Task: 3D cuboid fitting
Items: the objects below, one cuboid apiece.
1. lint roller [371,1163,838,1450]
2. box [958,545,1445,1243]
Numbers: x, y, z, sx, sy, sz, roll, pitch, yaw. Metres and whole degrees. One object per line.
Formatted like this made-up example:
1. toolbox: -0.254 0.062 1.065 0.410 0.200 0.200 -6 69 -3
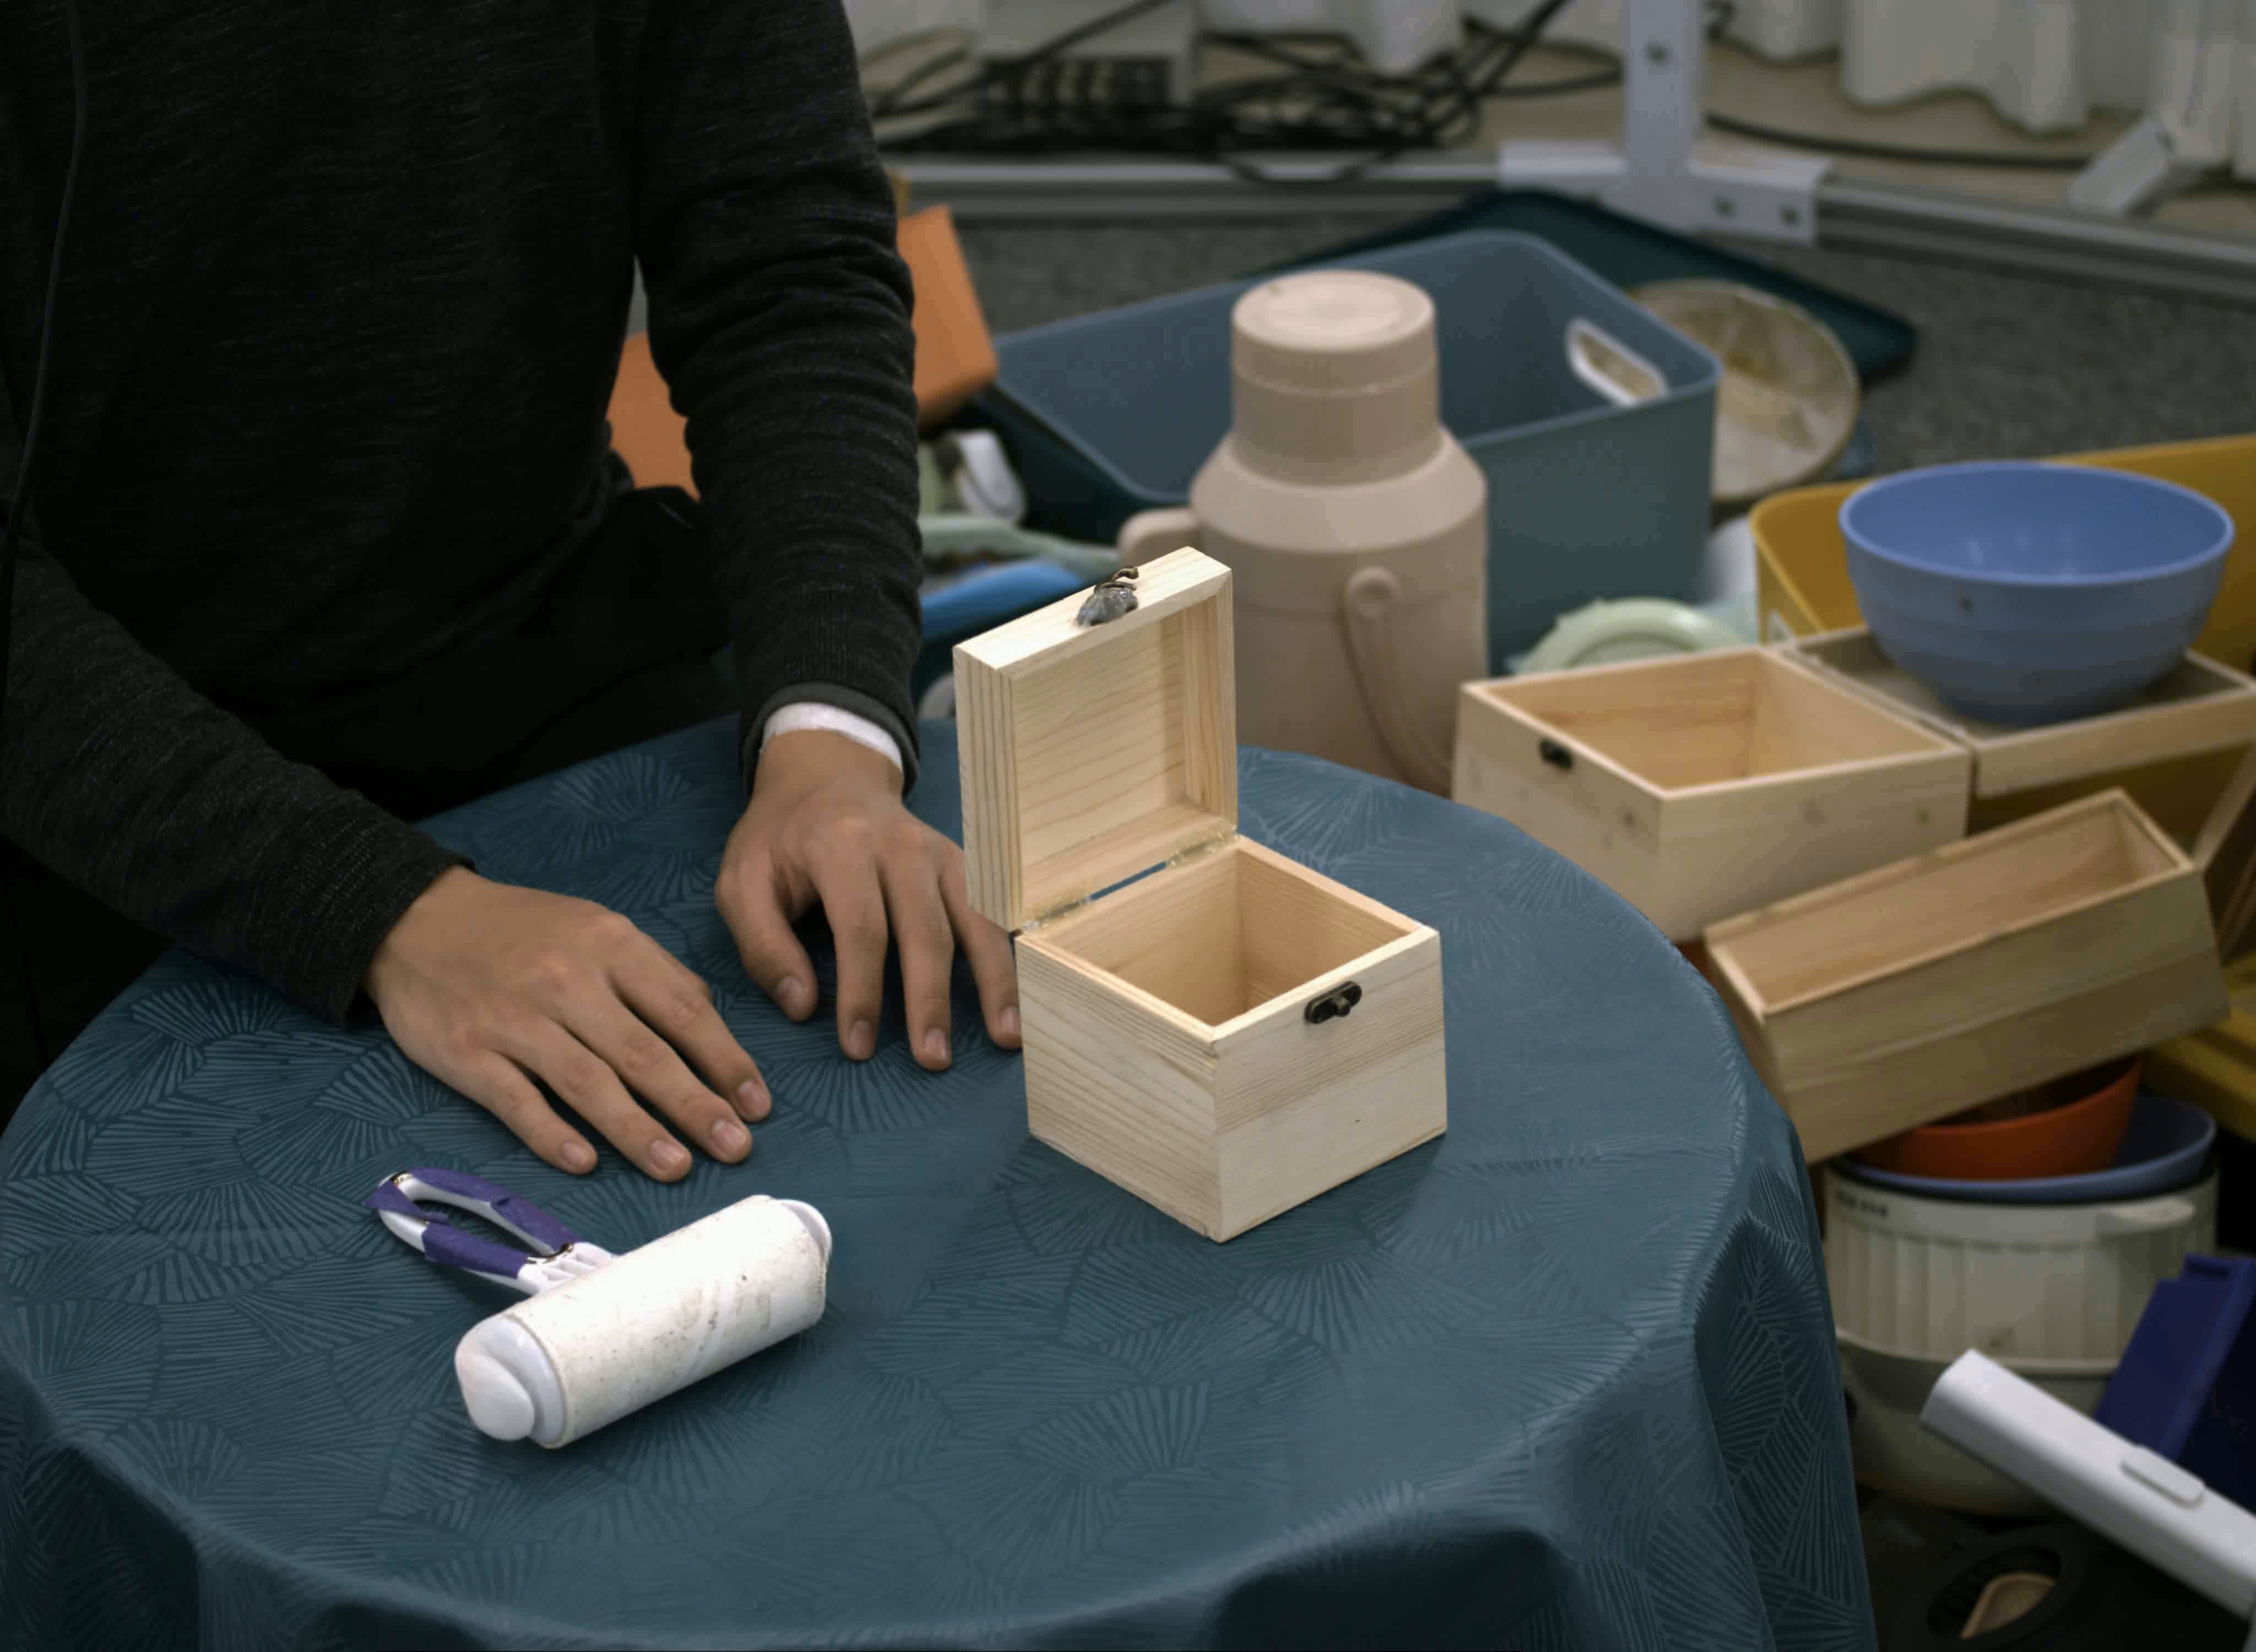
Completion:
1. lint roller: -0.189 0.133 1.808 0.134 0.049 0.181 -23 35 -32
2. box: 0.026 0.020 1.858 0.103 0.182 0.134 -22 31 -34
